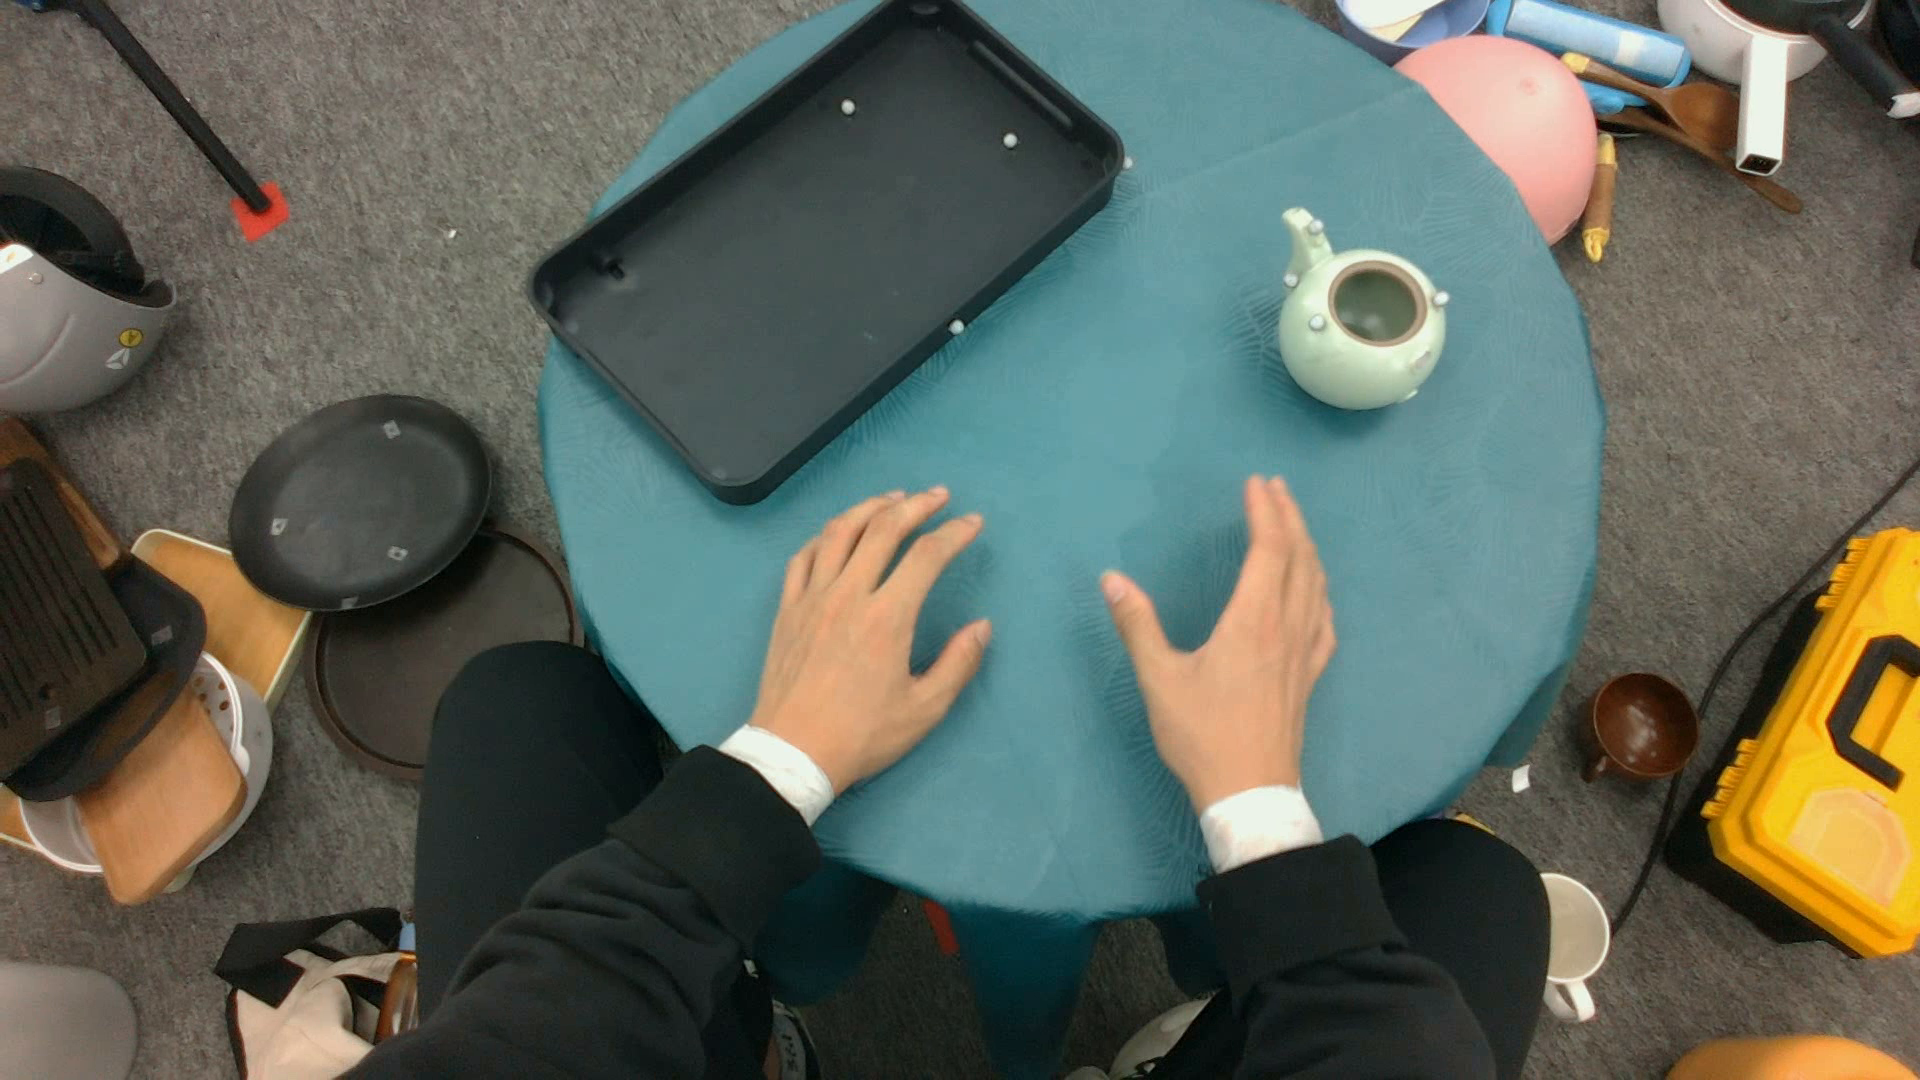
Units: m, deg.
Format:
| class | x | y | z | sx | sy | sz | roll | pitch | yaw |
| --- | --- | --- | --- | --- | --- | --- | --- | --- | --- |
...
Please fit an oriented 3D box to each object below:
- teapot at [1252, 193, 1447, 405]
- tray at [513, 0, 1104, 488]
| class | x | y | z | sx | sy | sz | roll | pitch | yaw |
| --- | --- | --- | --- | --- | --- | --- | --- | --- | --- |
| teapot | 0.207 | -0.125 | 0.763 | 0.088 | 0.074 | 0.144 | -35 | 73 | -14 |
| tray | -0.081 | -0.189 | 0.796 | 0.184 | 0.037 | 0.319 | 41 | 73 | 13 |
